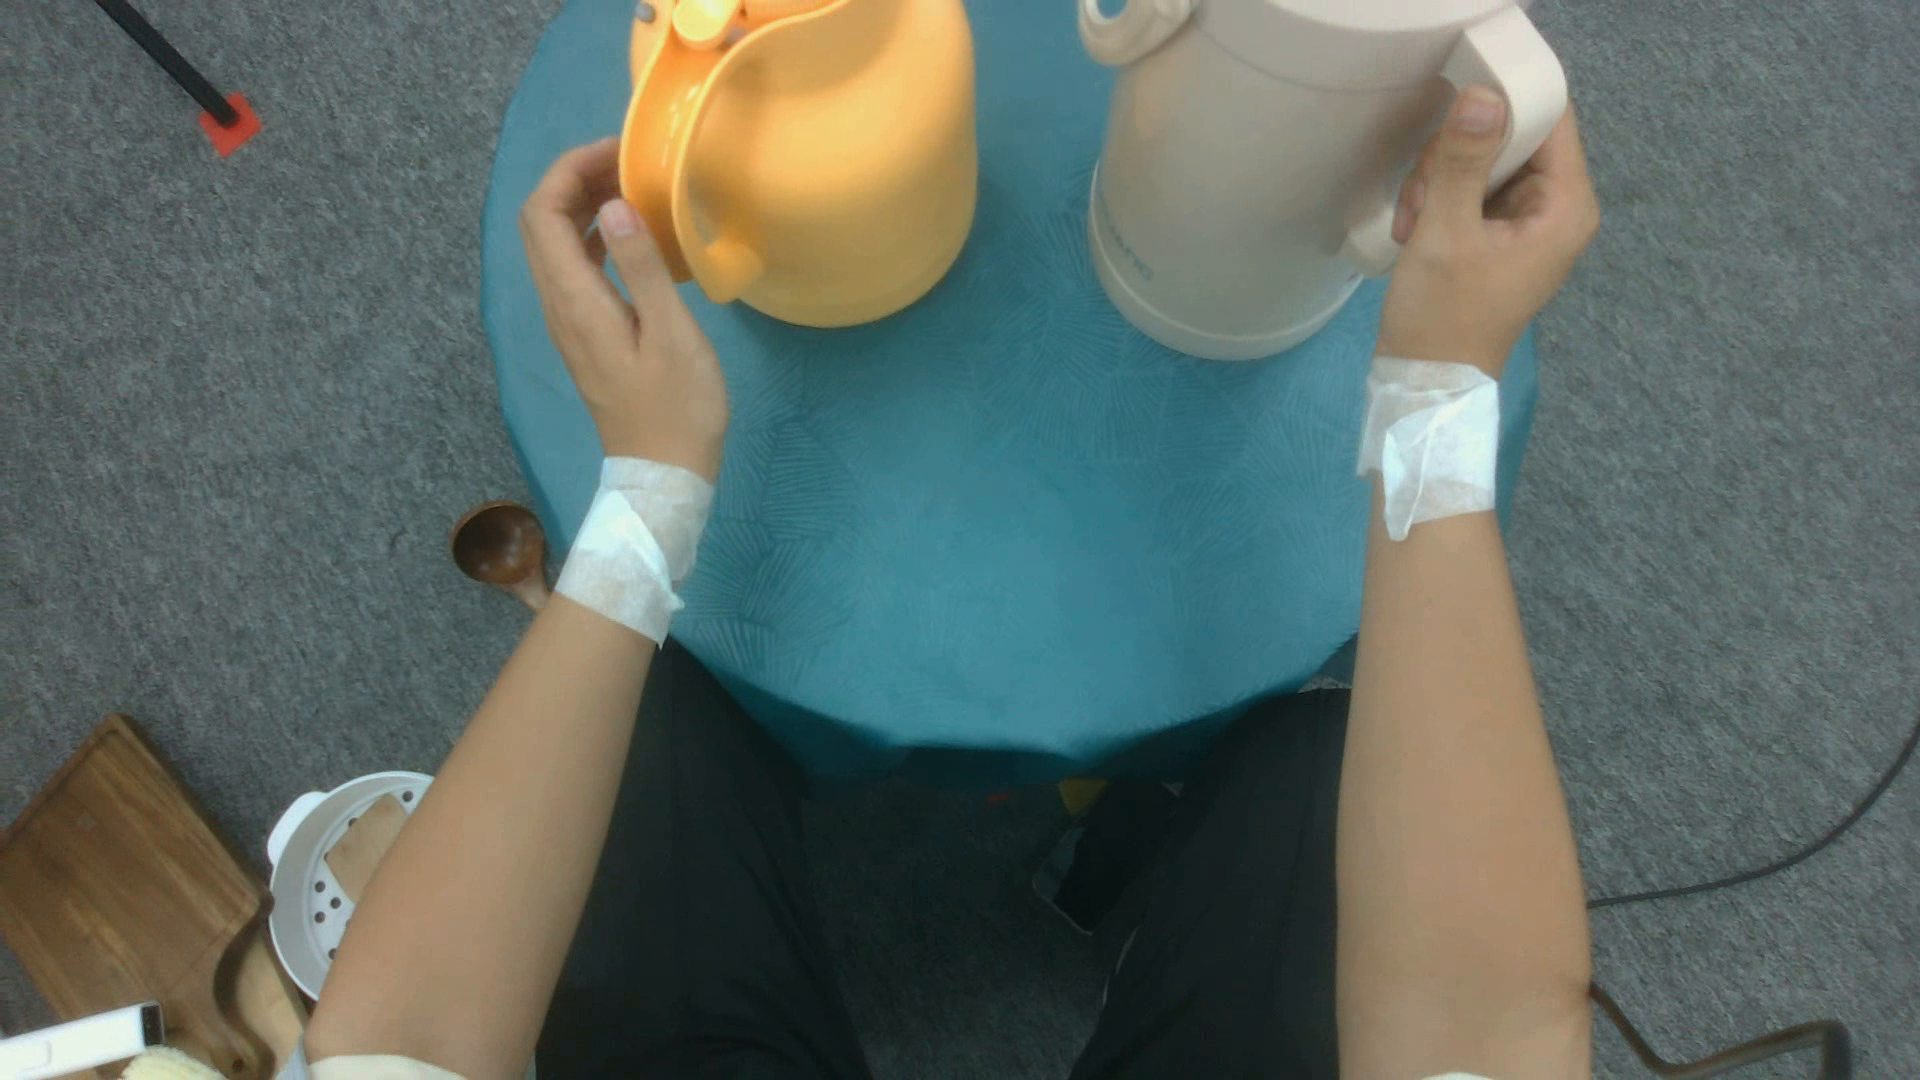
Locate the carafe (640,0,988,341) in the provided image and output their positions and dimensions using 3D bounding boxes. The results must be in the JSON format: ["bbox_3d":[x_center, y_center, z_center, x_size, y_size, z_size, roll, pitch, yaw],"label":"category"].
[{"bbox_3d":[-0.078,-0.199,0.674,0.163,0.260,0.203,27,76,10],"label":"carafe"}]

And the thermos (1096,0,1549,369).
[{"bbox_3d":[0.159,-0.209,0.604,0.175,0.405,0.207,-28,76,-7],"label":"thermos"}]
